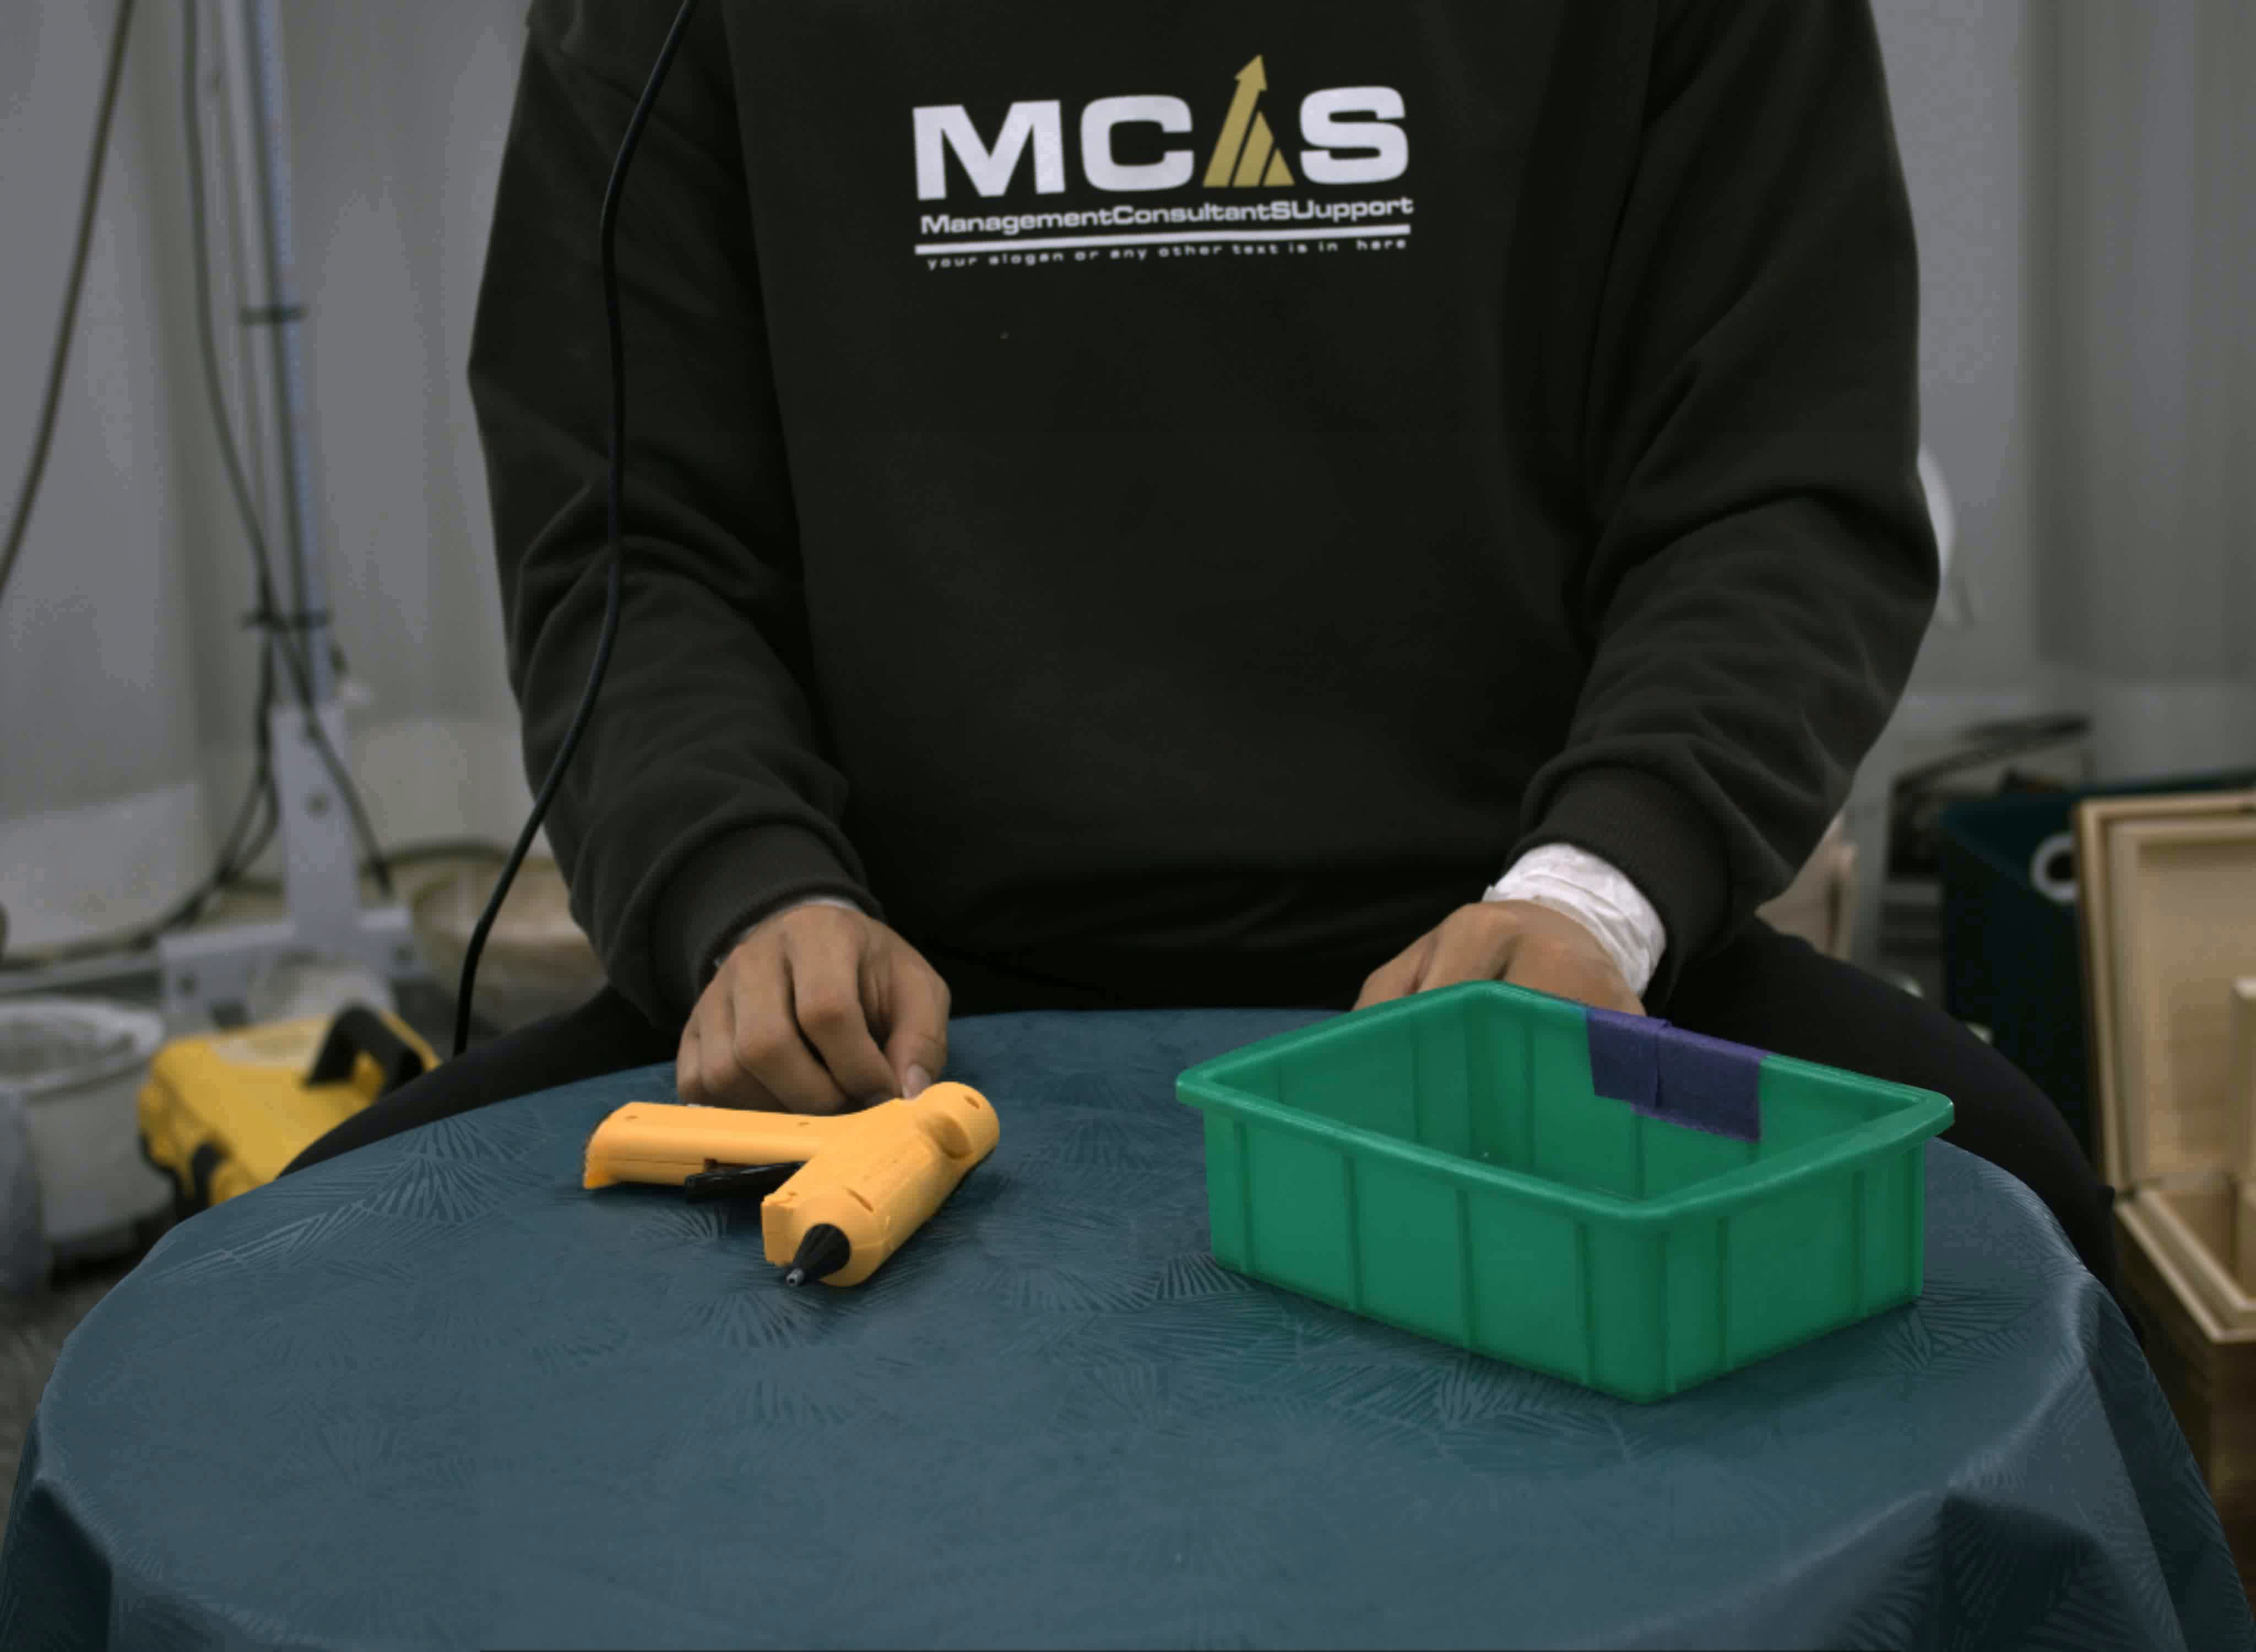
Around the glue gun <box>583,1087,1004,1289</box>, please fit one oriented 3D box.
[{"bbox_3d":[-0.119,0.115,1.687,0.133,0.031,0.152,-1,14,14],"label":"glue gun"}]

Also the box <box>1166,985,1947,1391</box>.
[{"bbox_3d":[0.124,0.105,1.607,0.138,0.065,0.211,-13,16,-41],"label":"box"}]
